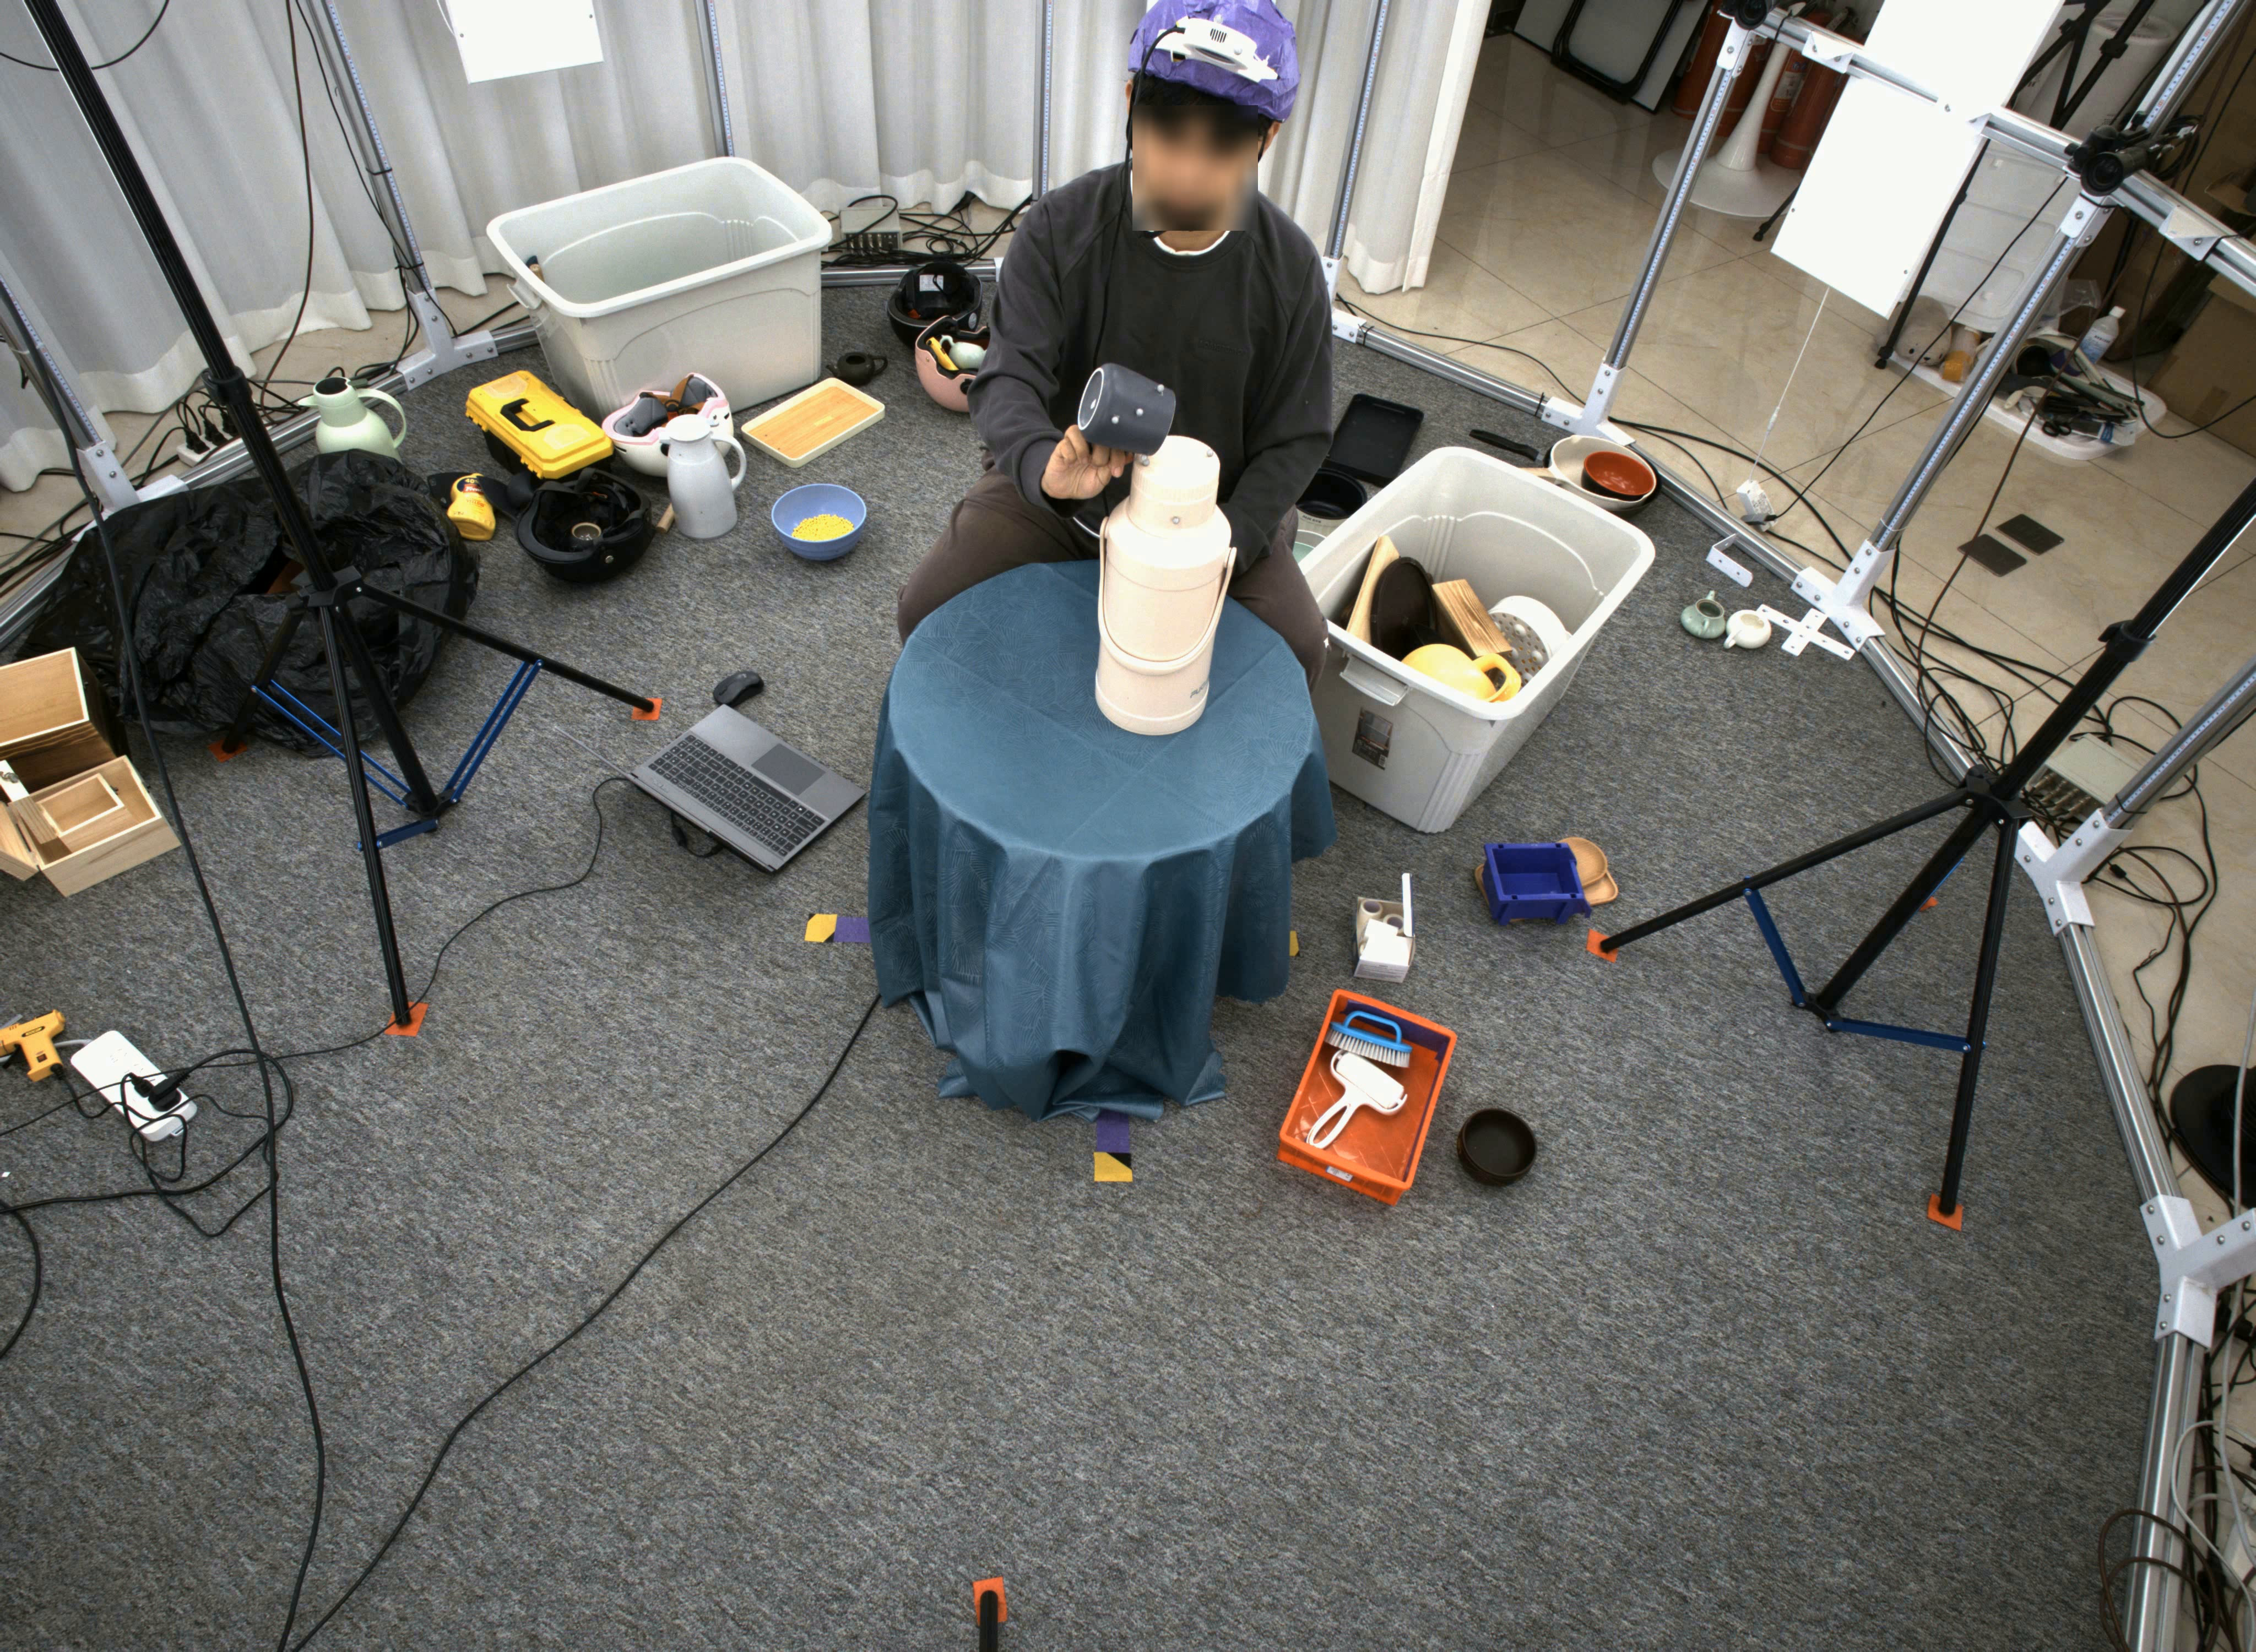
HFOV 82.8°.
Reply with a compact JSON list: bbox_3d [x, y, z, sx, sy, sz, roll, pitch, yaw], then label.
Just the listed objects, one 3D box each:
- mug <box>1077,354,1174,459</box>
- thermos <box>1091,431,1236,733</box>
[{"bbox_3d":[-0.010,-0.474,1.496,0.089,0.121,0.096,13,54,-21],"label":"mug"},{"bbox_3d":[0.048,-0.324,1.694,0.176,0.396,0.211,15,50,7],"label":"thermos"}]
